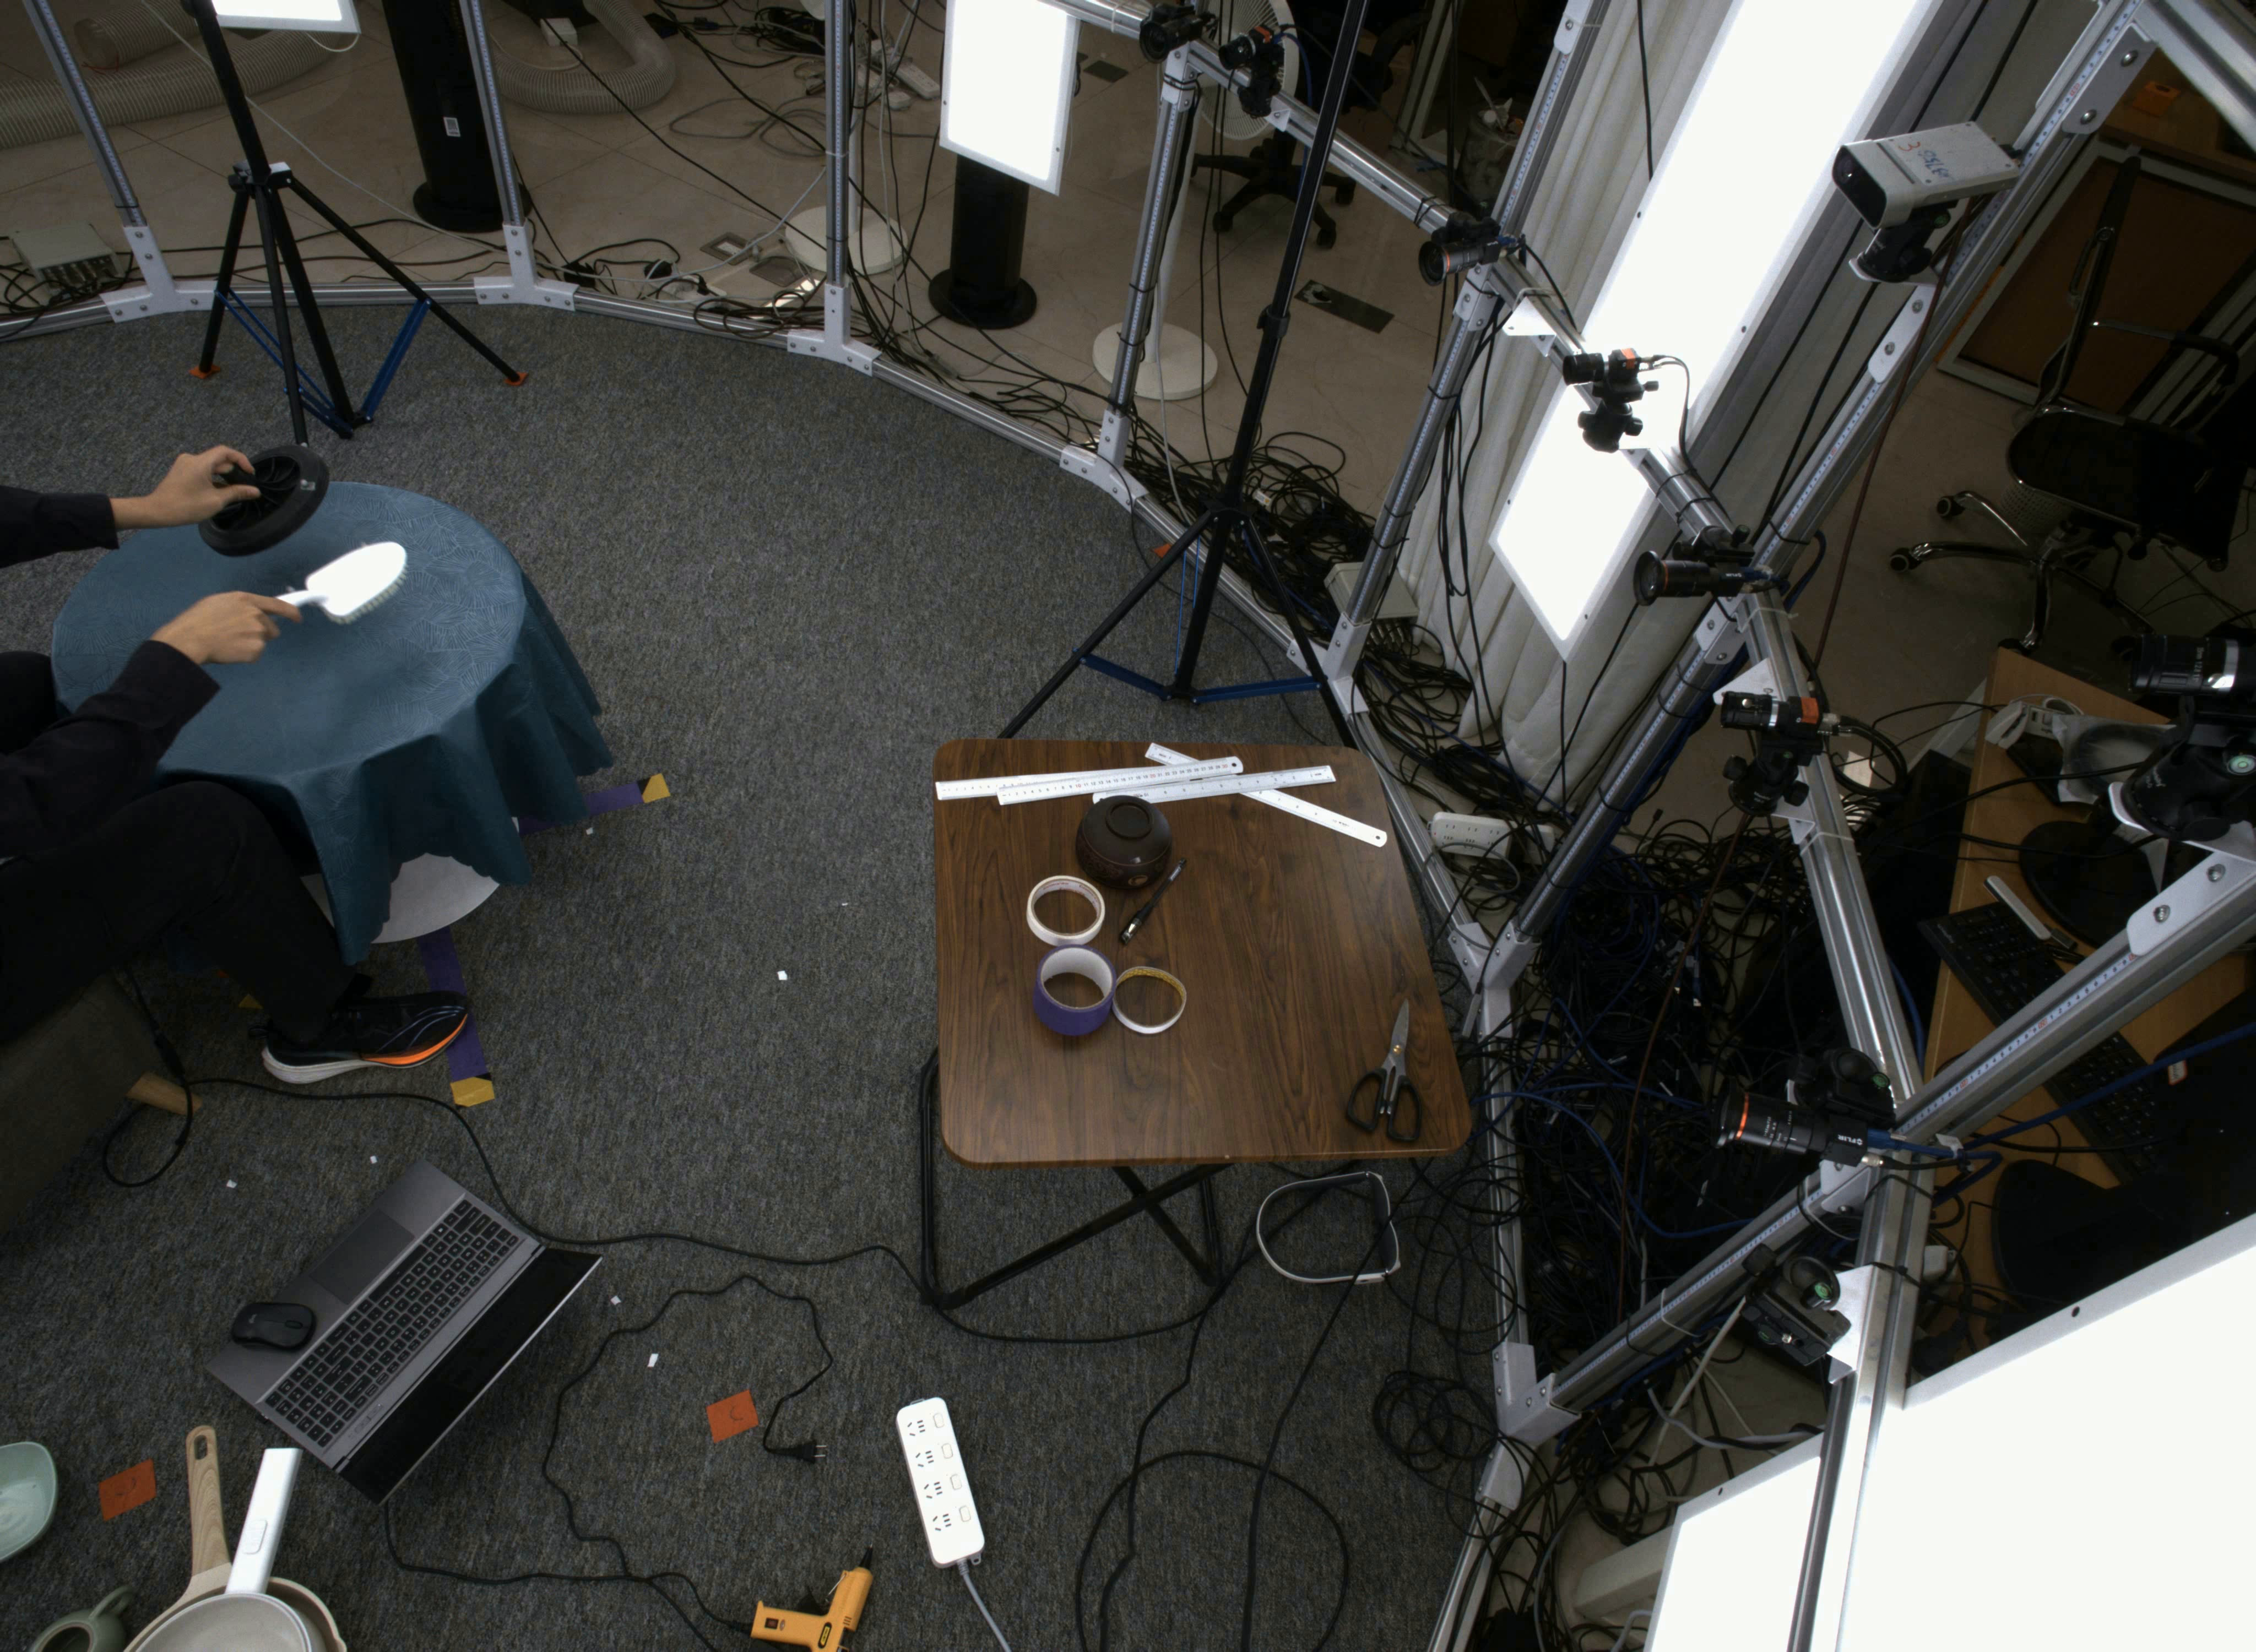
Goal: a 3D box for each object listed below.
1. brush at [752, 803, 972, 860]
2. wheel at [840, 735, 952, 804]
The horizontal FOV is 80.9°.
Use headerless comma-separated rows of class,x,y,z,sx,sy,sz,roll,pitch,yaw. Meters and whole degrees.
brush,-0.381,0.004,1.869,0.330,0.086,0.080,0,12,-30
wheel,-0.380,-0.102,2.082,0.182,0.081,0.189,-10,19,26
